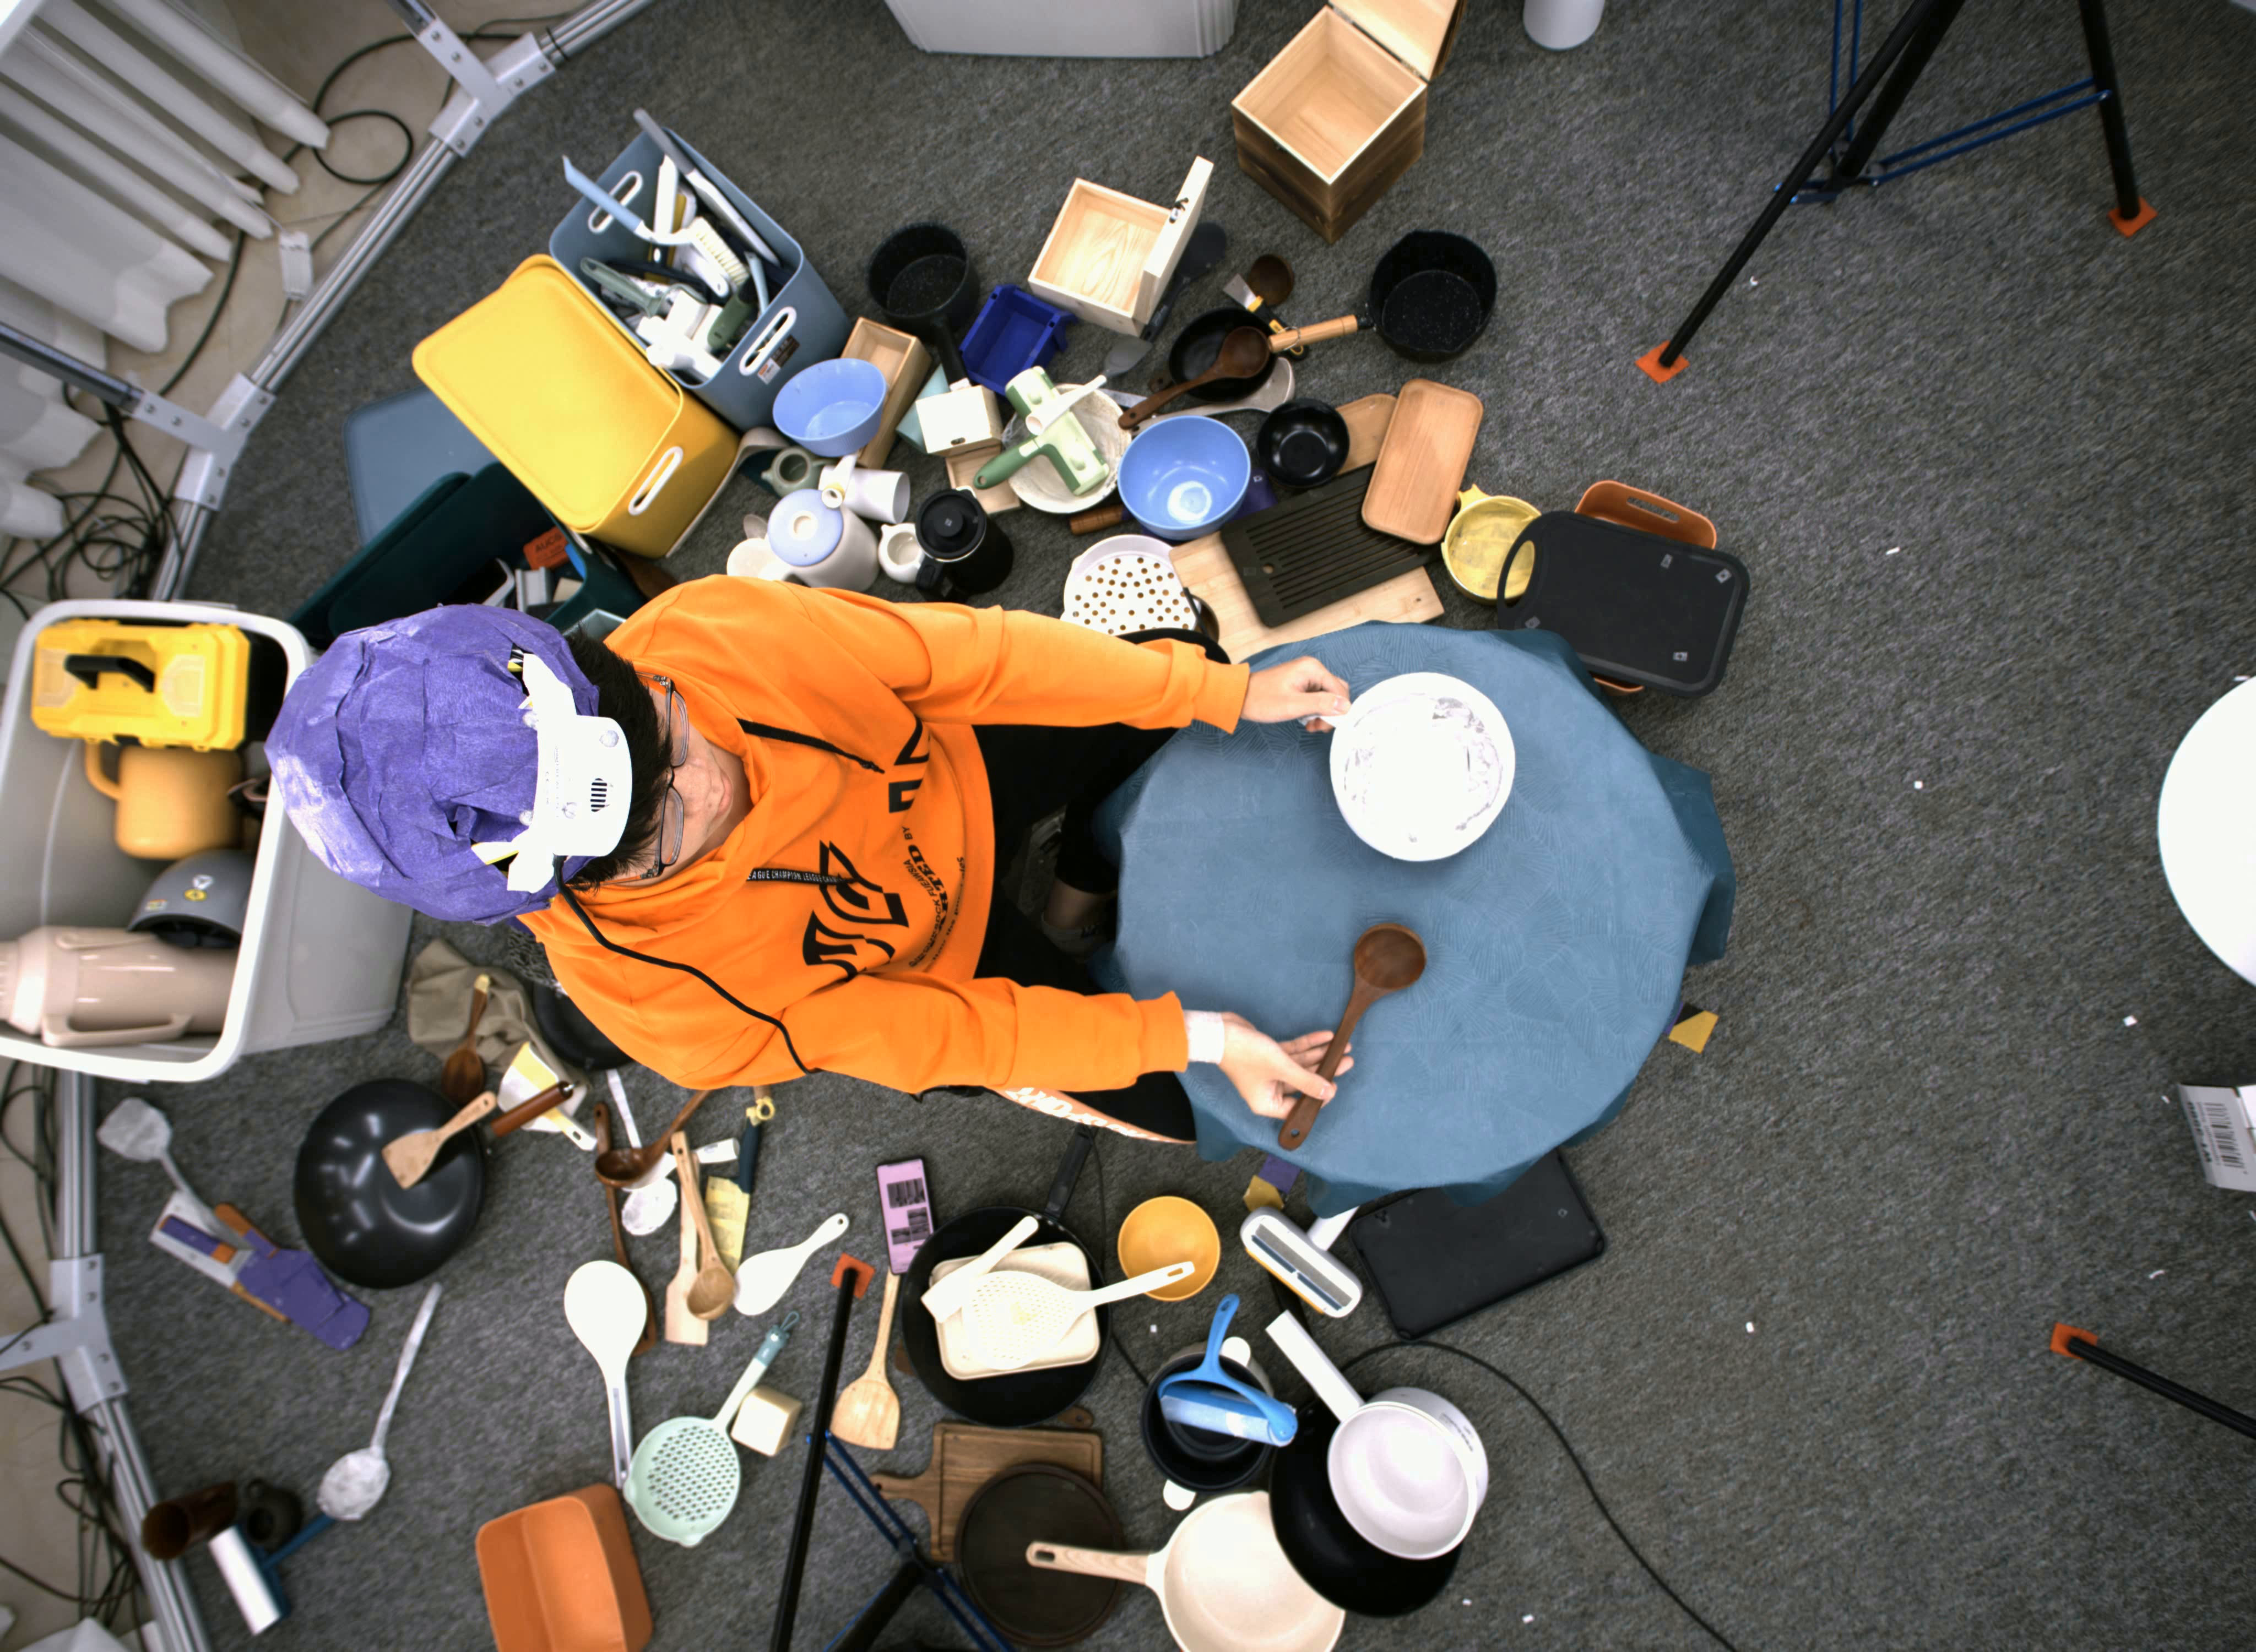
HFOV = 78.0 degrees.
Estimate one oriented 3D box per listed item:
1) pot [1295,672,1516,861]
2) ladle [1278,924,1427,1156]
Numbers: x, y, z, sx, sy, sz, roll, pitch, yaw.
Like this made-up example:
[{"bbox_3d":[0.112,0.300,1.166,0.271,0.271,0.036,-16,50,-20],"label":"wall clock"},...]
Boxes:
[{"bbox_3d":[0.272,-0.071,1.397,0.233,0.137,0.179,32,91,11],"label":"pot"},{"bbox_3d":[0.223,0.217,1.412,0.076,0.066,0.257,29,79,6],"label":"ladle"}]
